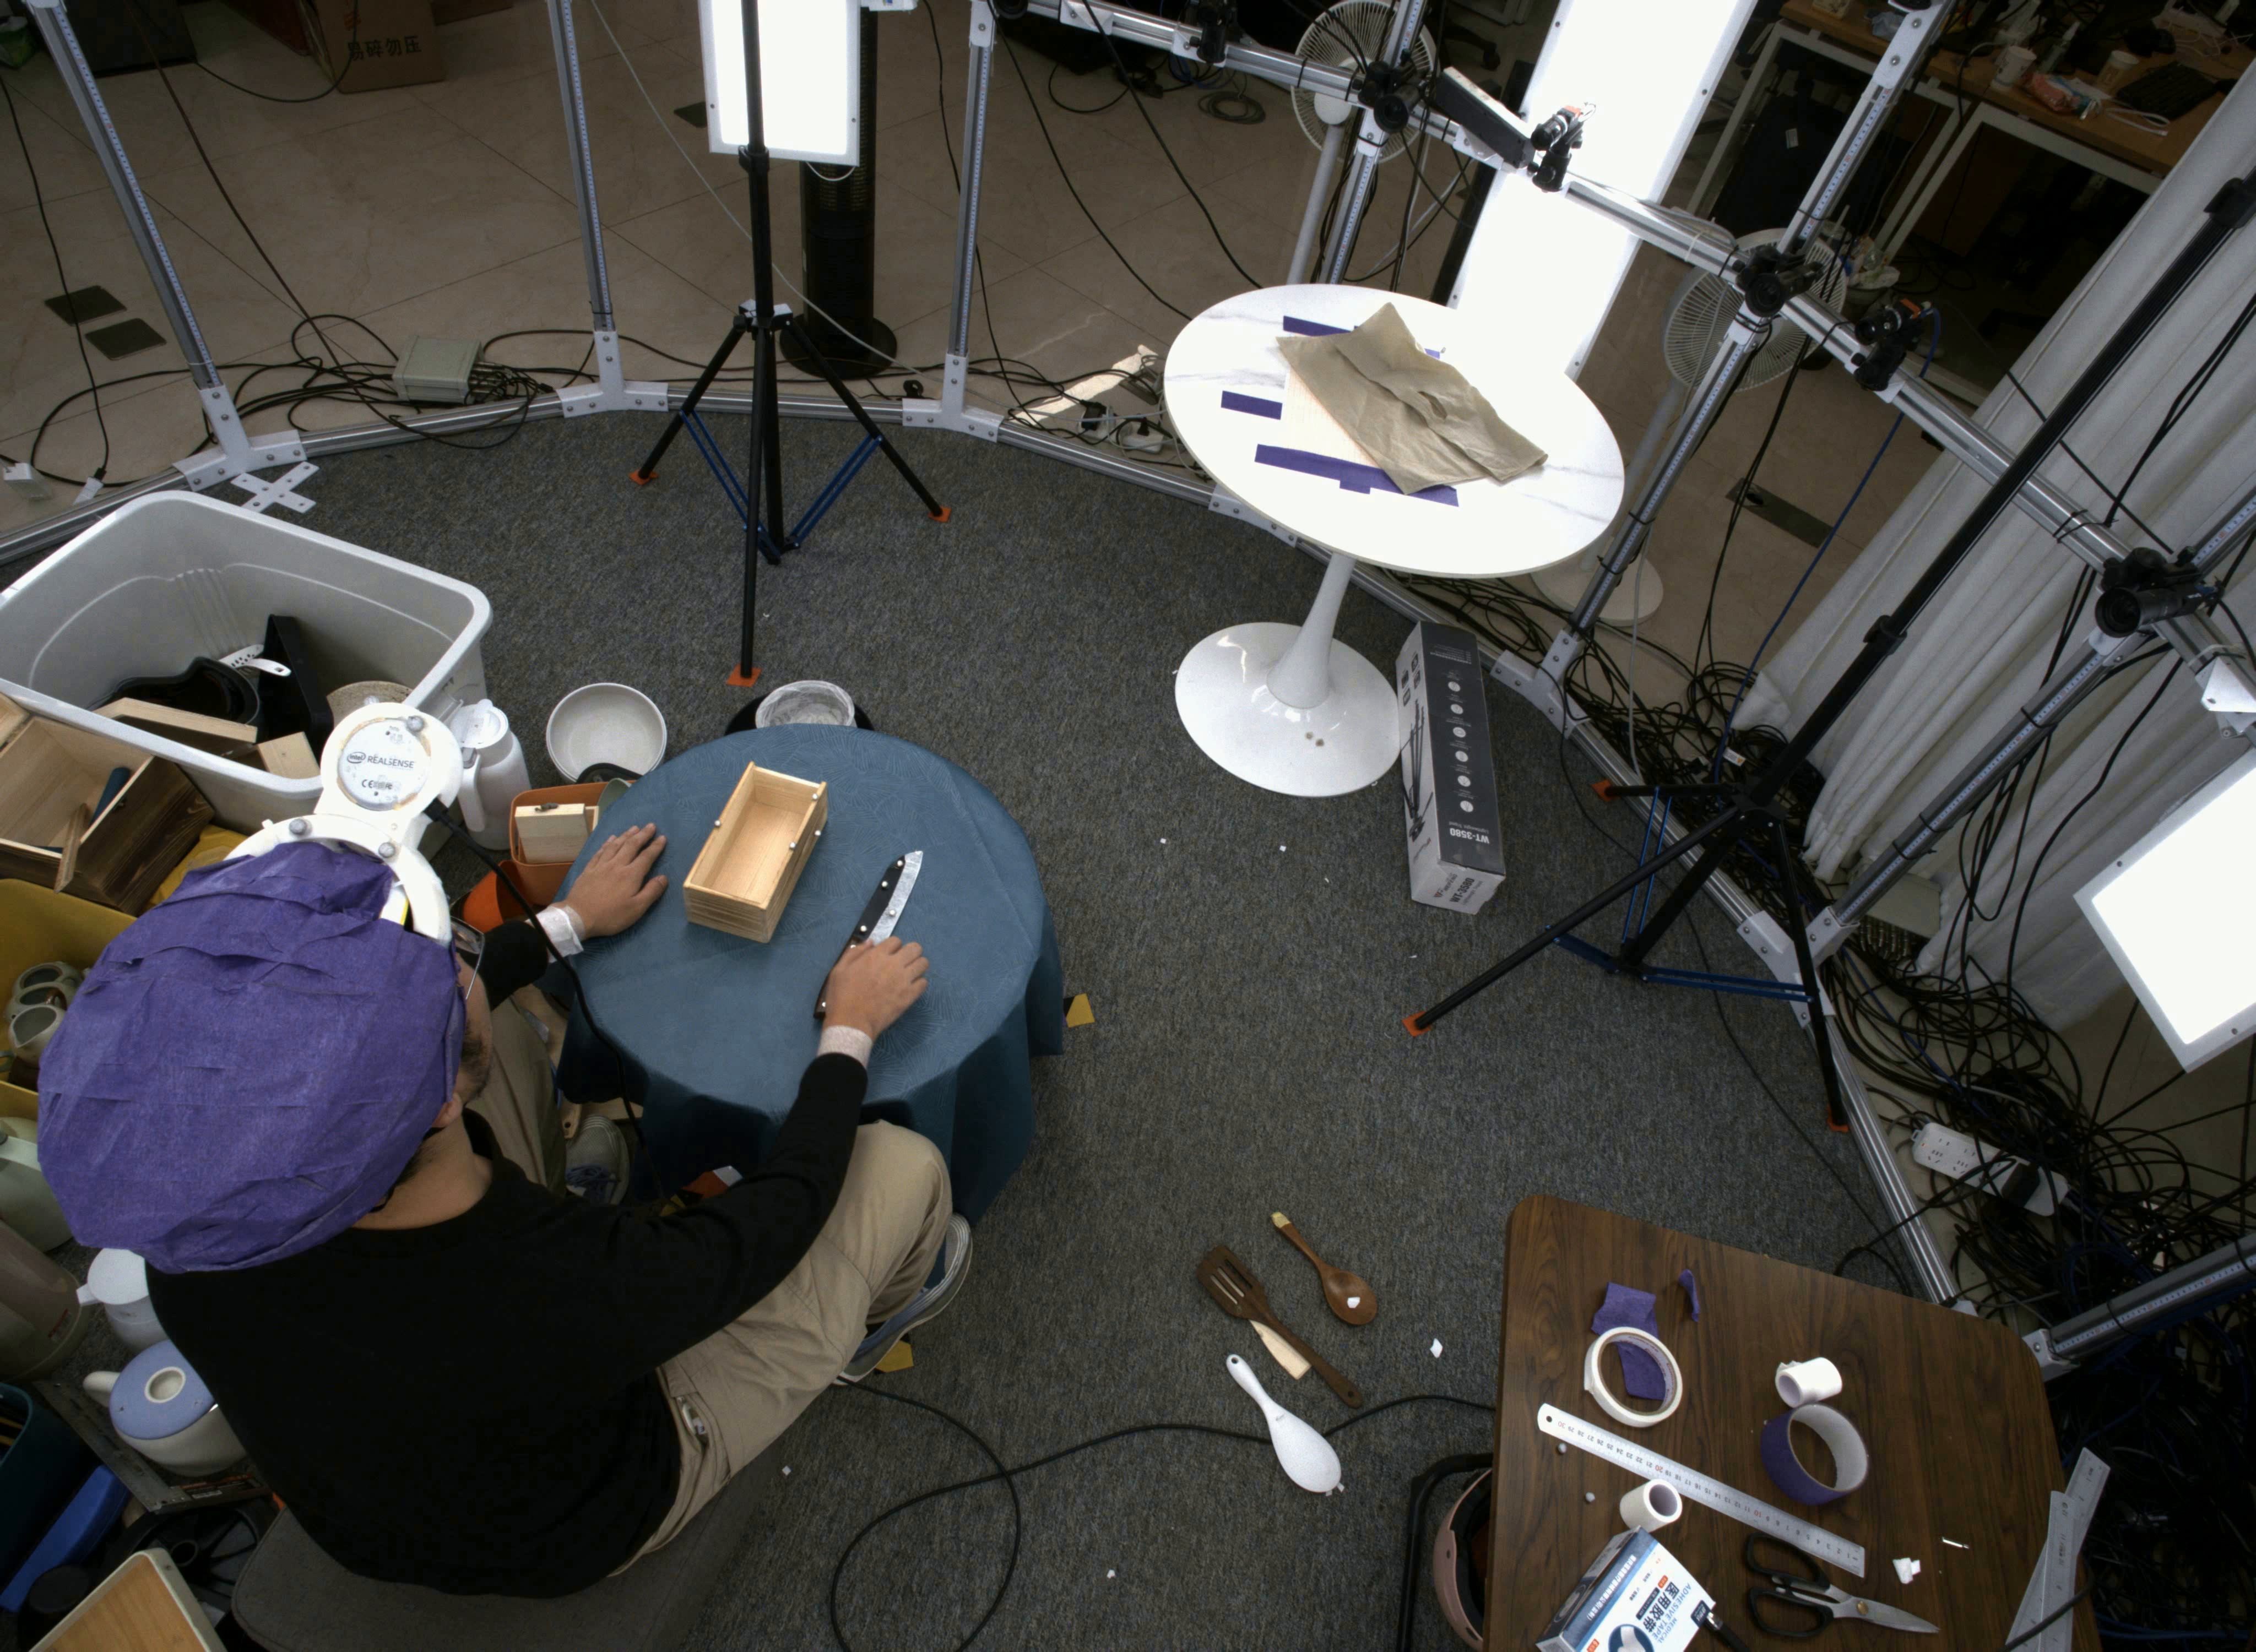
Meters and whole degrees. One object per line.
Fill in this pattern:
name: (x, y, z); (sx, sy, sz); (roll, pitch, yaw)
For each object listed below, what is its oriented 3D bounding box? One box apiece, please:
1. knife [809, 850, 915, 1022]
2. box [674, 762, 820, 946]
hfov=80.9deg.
knife: (-0.331, 0.129, 1.637); (0.050, 0.020, 0.286); (25, 49, -2)
box: (-0.476, 0.031, 1.630); (0.107, 0.082, 0.208); (15, 51, -1)
